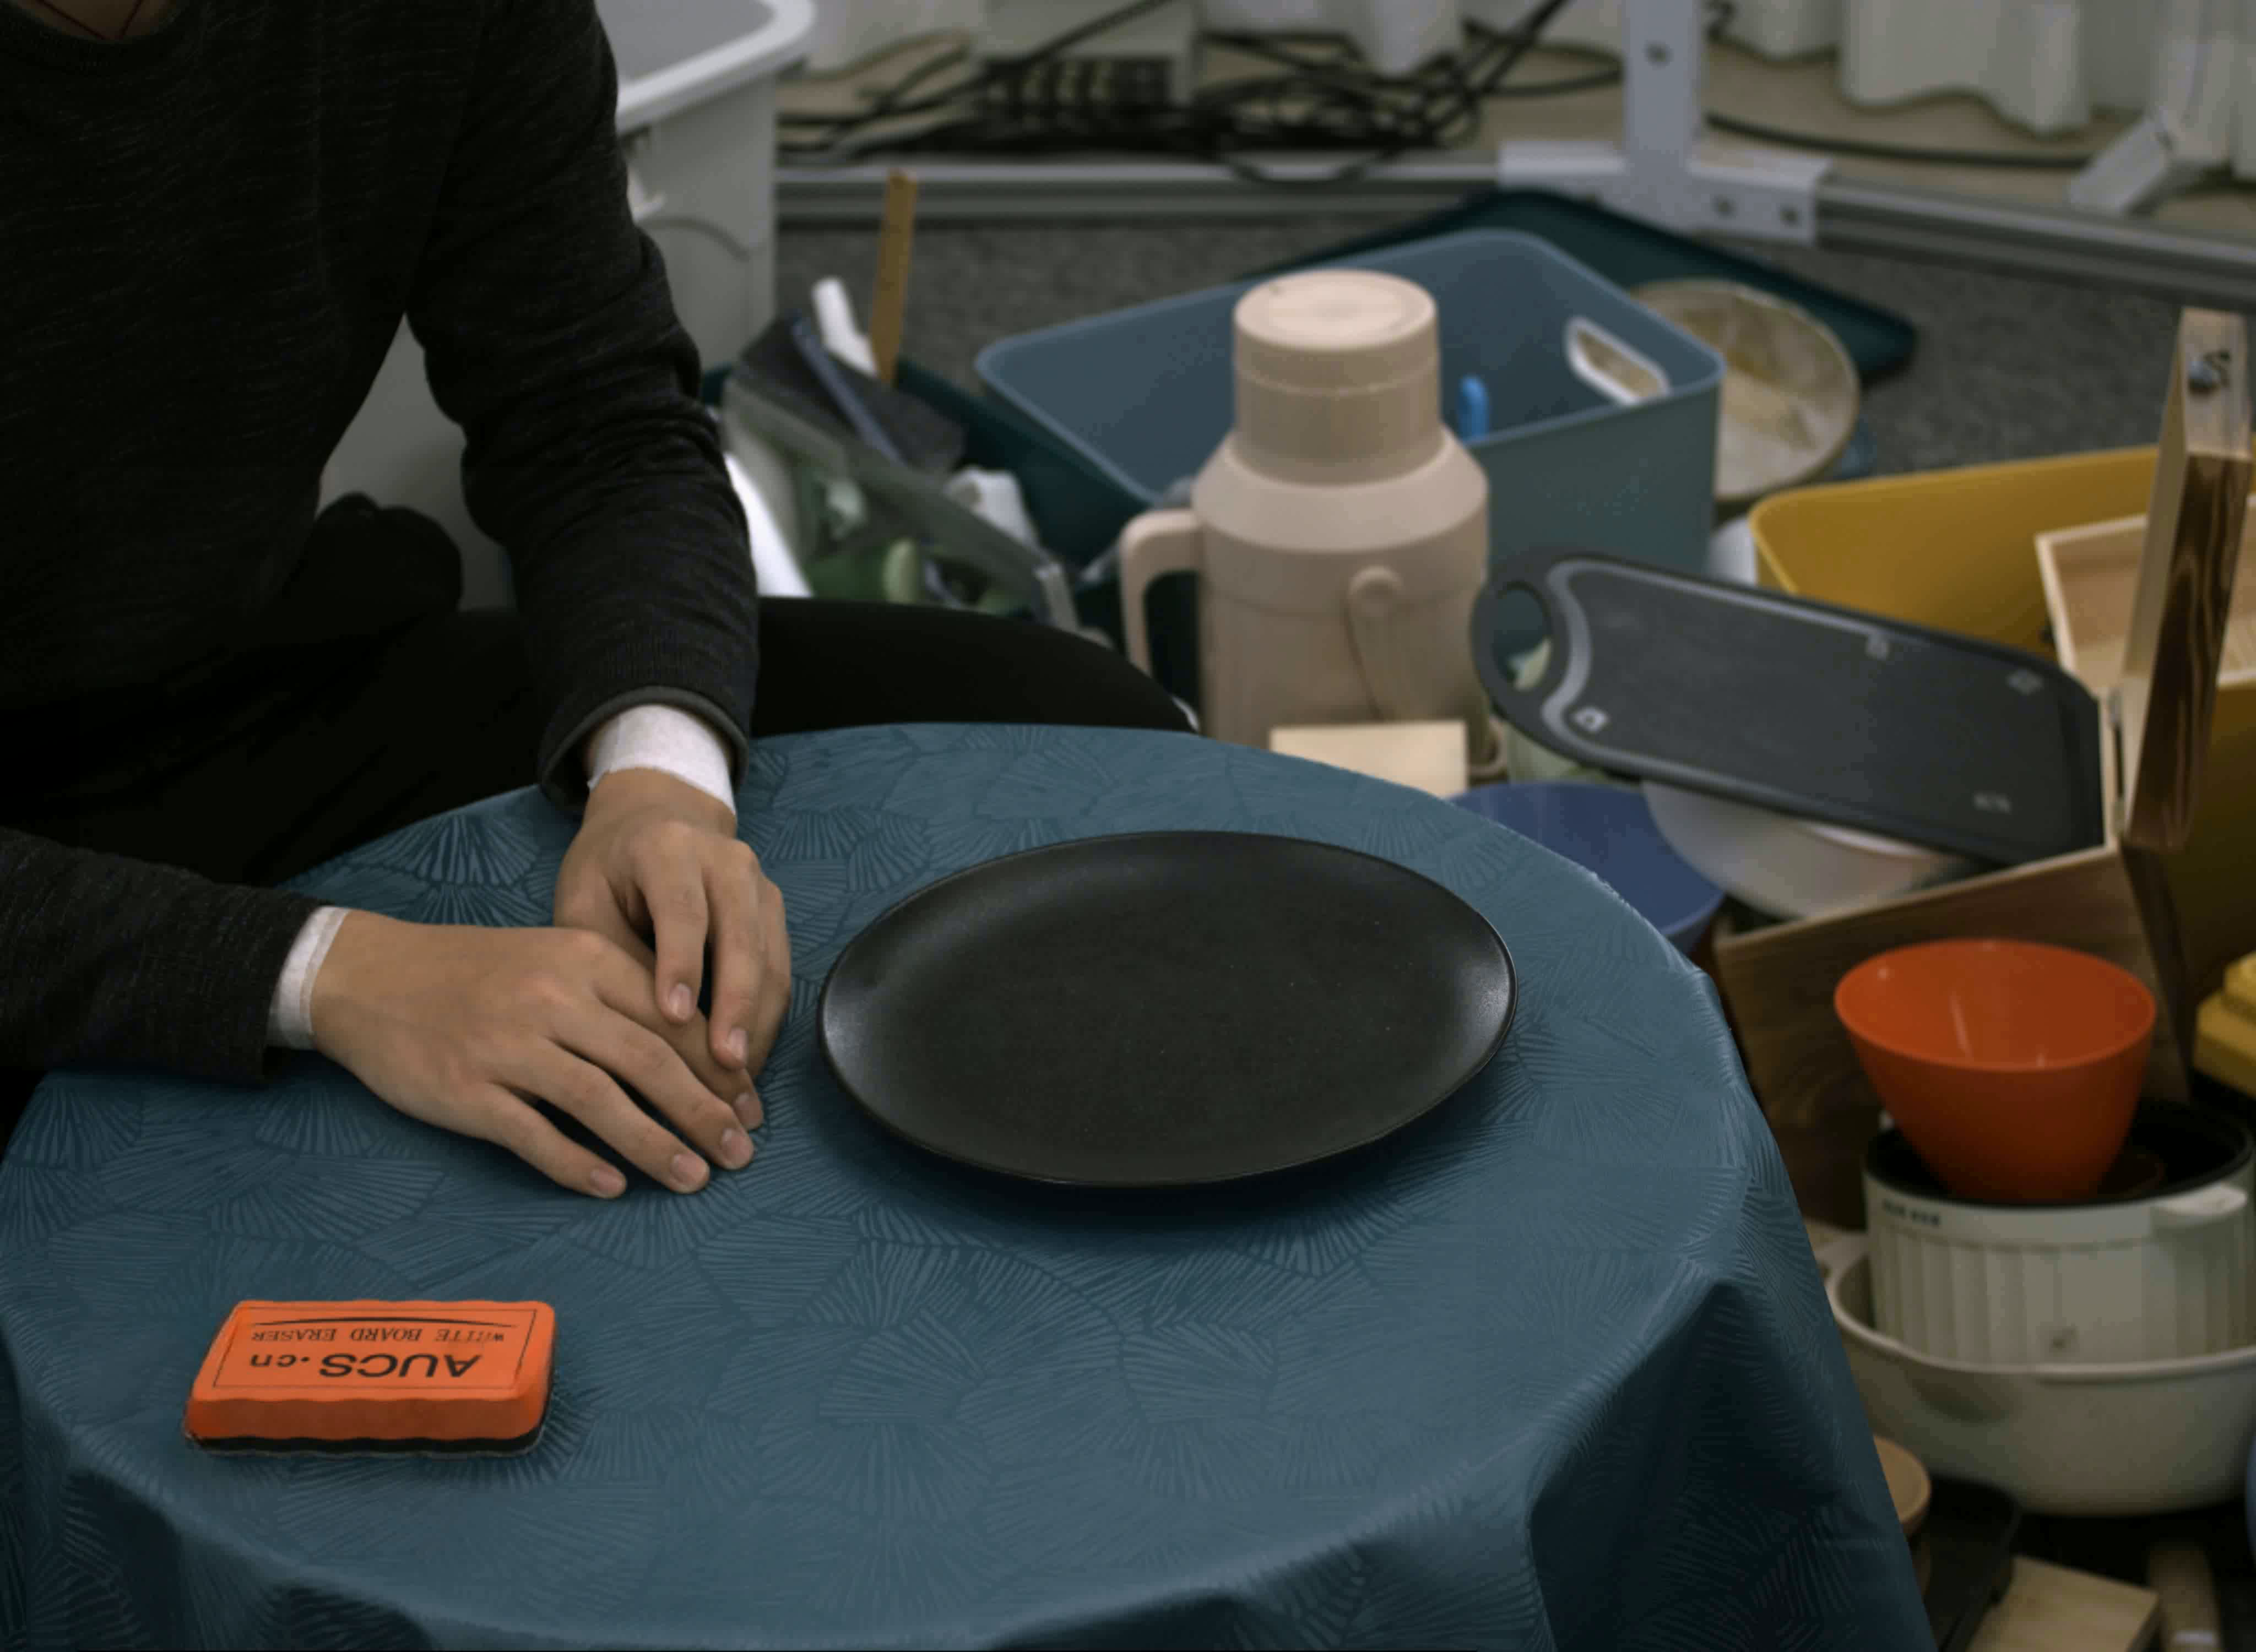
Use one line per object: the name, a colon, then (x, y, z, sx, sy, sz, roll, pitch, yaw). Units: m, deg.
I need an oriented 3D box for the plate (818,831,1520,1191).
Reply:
plate: (0.015, 0.068, 1.939, 0.243, 0.023, 0.248, -2, 27, 2)

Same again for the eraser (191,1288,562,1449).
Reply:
eraser: (-0.235, 0.170, 1.758, 0.107, 0.022, 0.060, -2, 25, 6)
